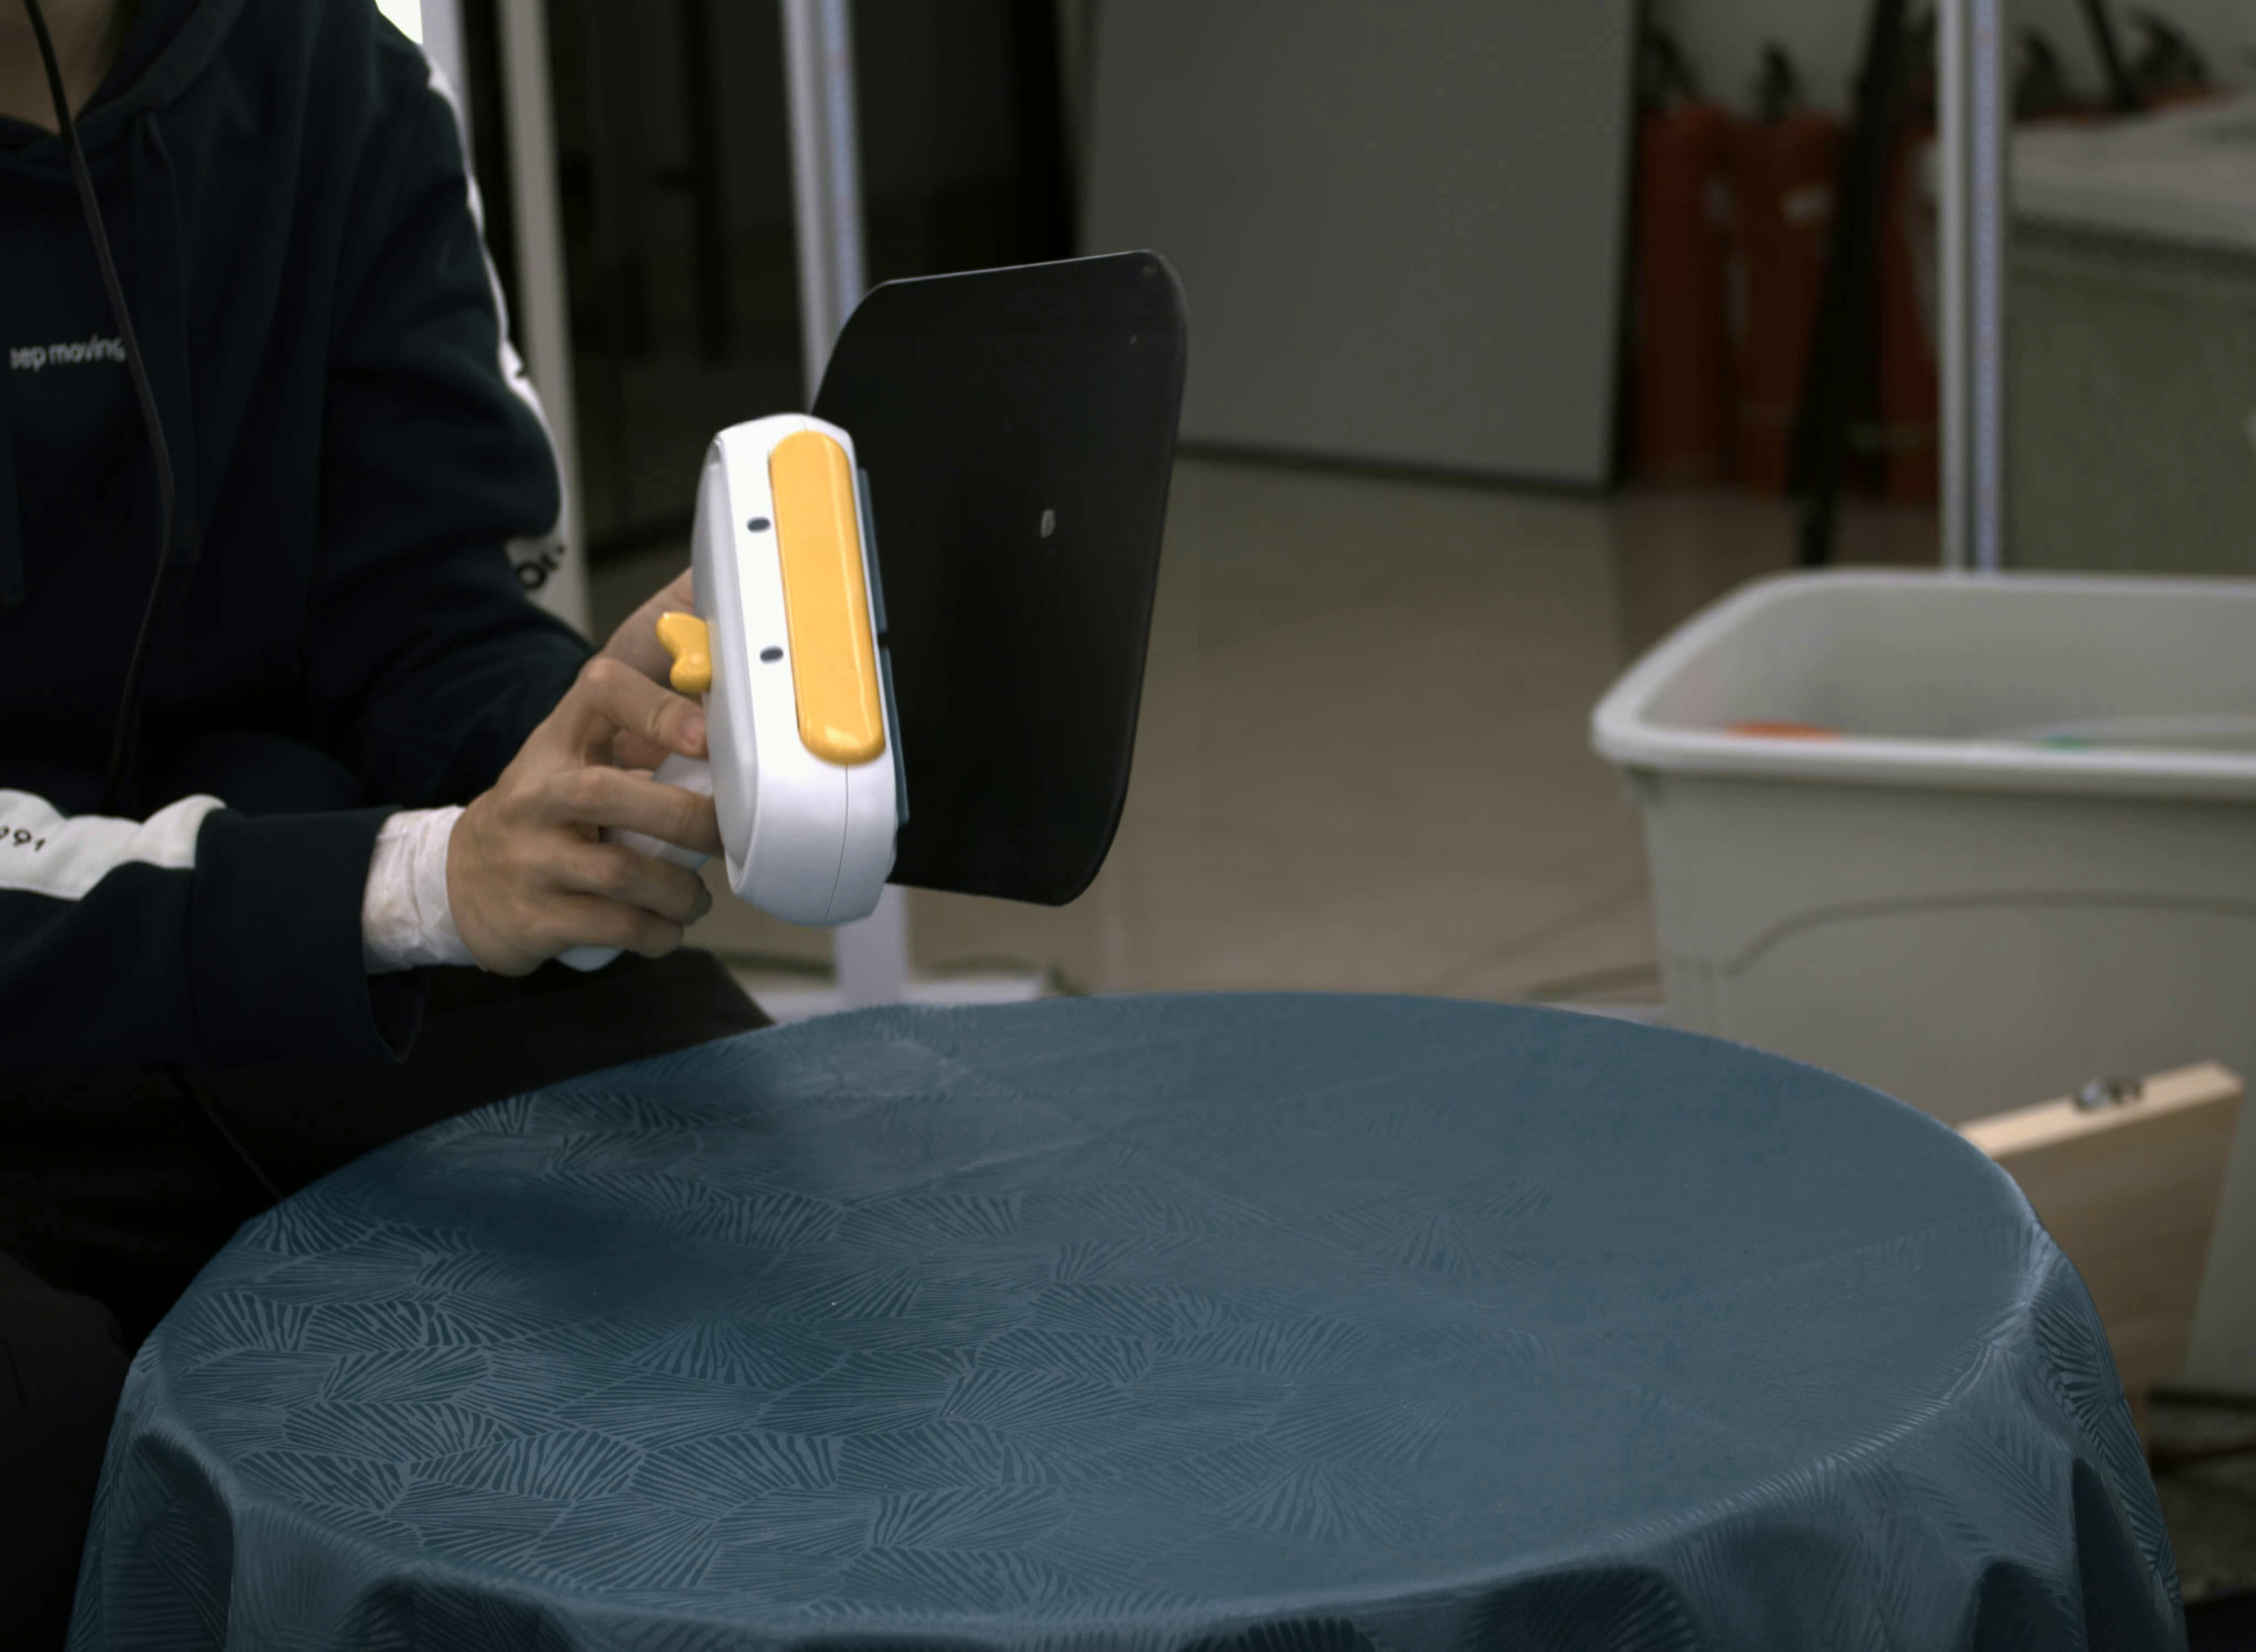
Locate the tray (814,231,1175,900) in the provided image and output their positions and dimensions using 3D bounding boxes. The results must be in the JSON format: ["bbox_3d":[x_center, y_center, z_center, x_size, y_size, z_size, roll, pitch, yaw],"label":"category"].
[{"bbox_3d":[-0.058,-0.085,1.802,0.009,0.214,0.328,8,-2,-23],"label":"tray"}]

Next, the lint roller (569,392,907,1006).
[{"bbox_3d":[-0.131,-0.016,1.762,0.072,0.194,0.195,5,43,-21],"label":"lint roller"}]
